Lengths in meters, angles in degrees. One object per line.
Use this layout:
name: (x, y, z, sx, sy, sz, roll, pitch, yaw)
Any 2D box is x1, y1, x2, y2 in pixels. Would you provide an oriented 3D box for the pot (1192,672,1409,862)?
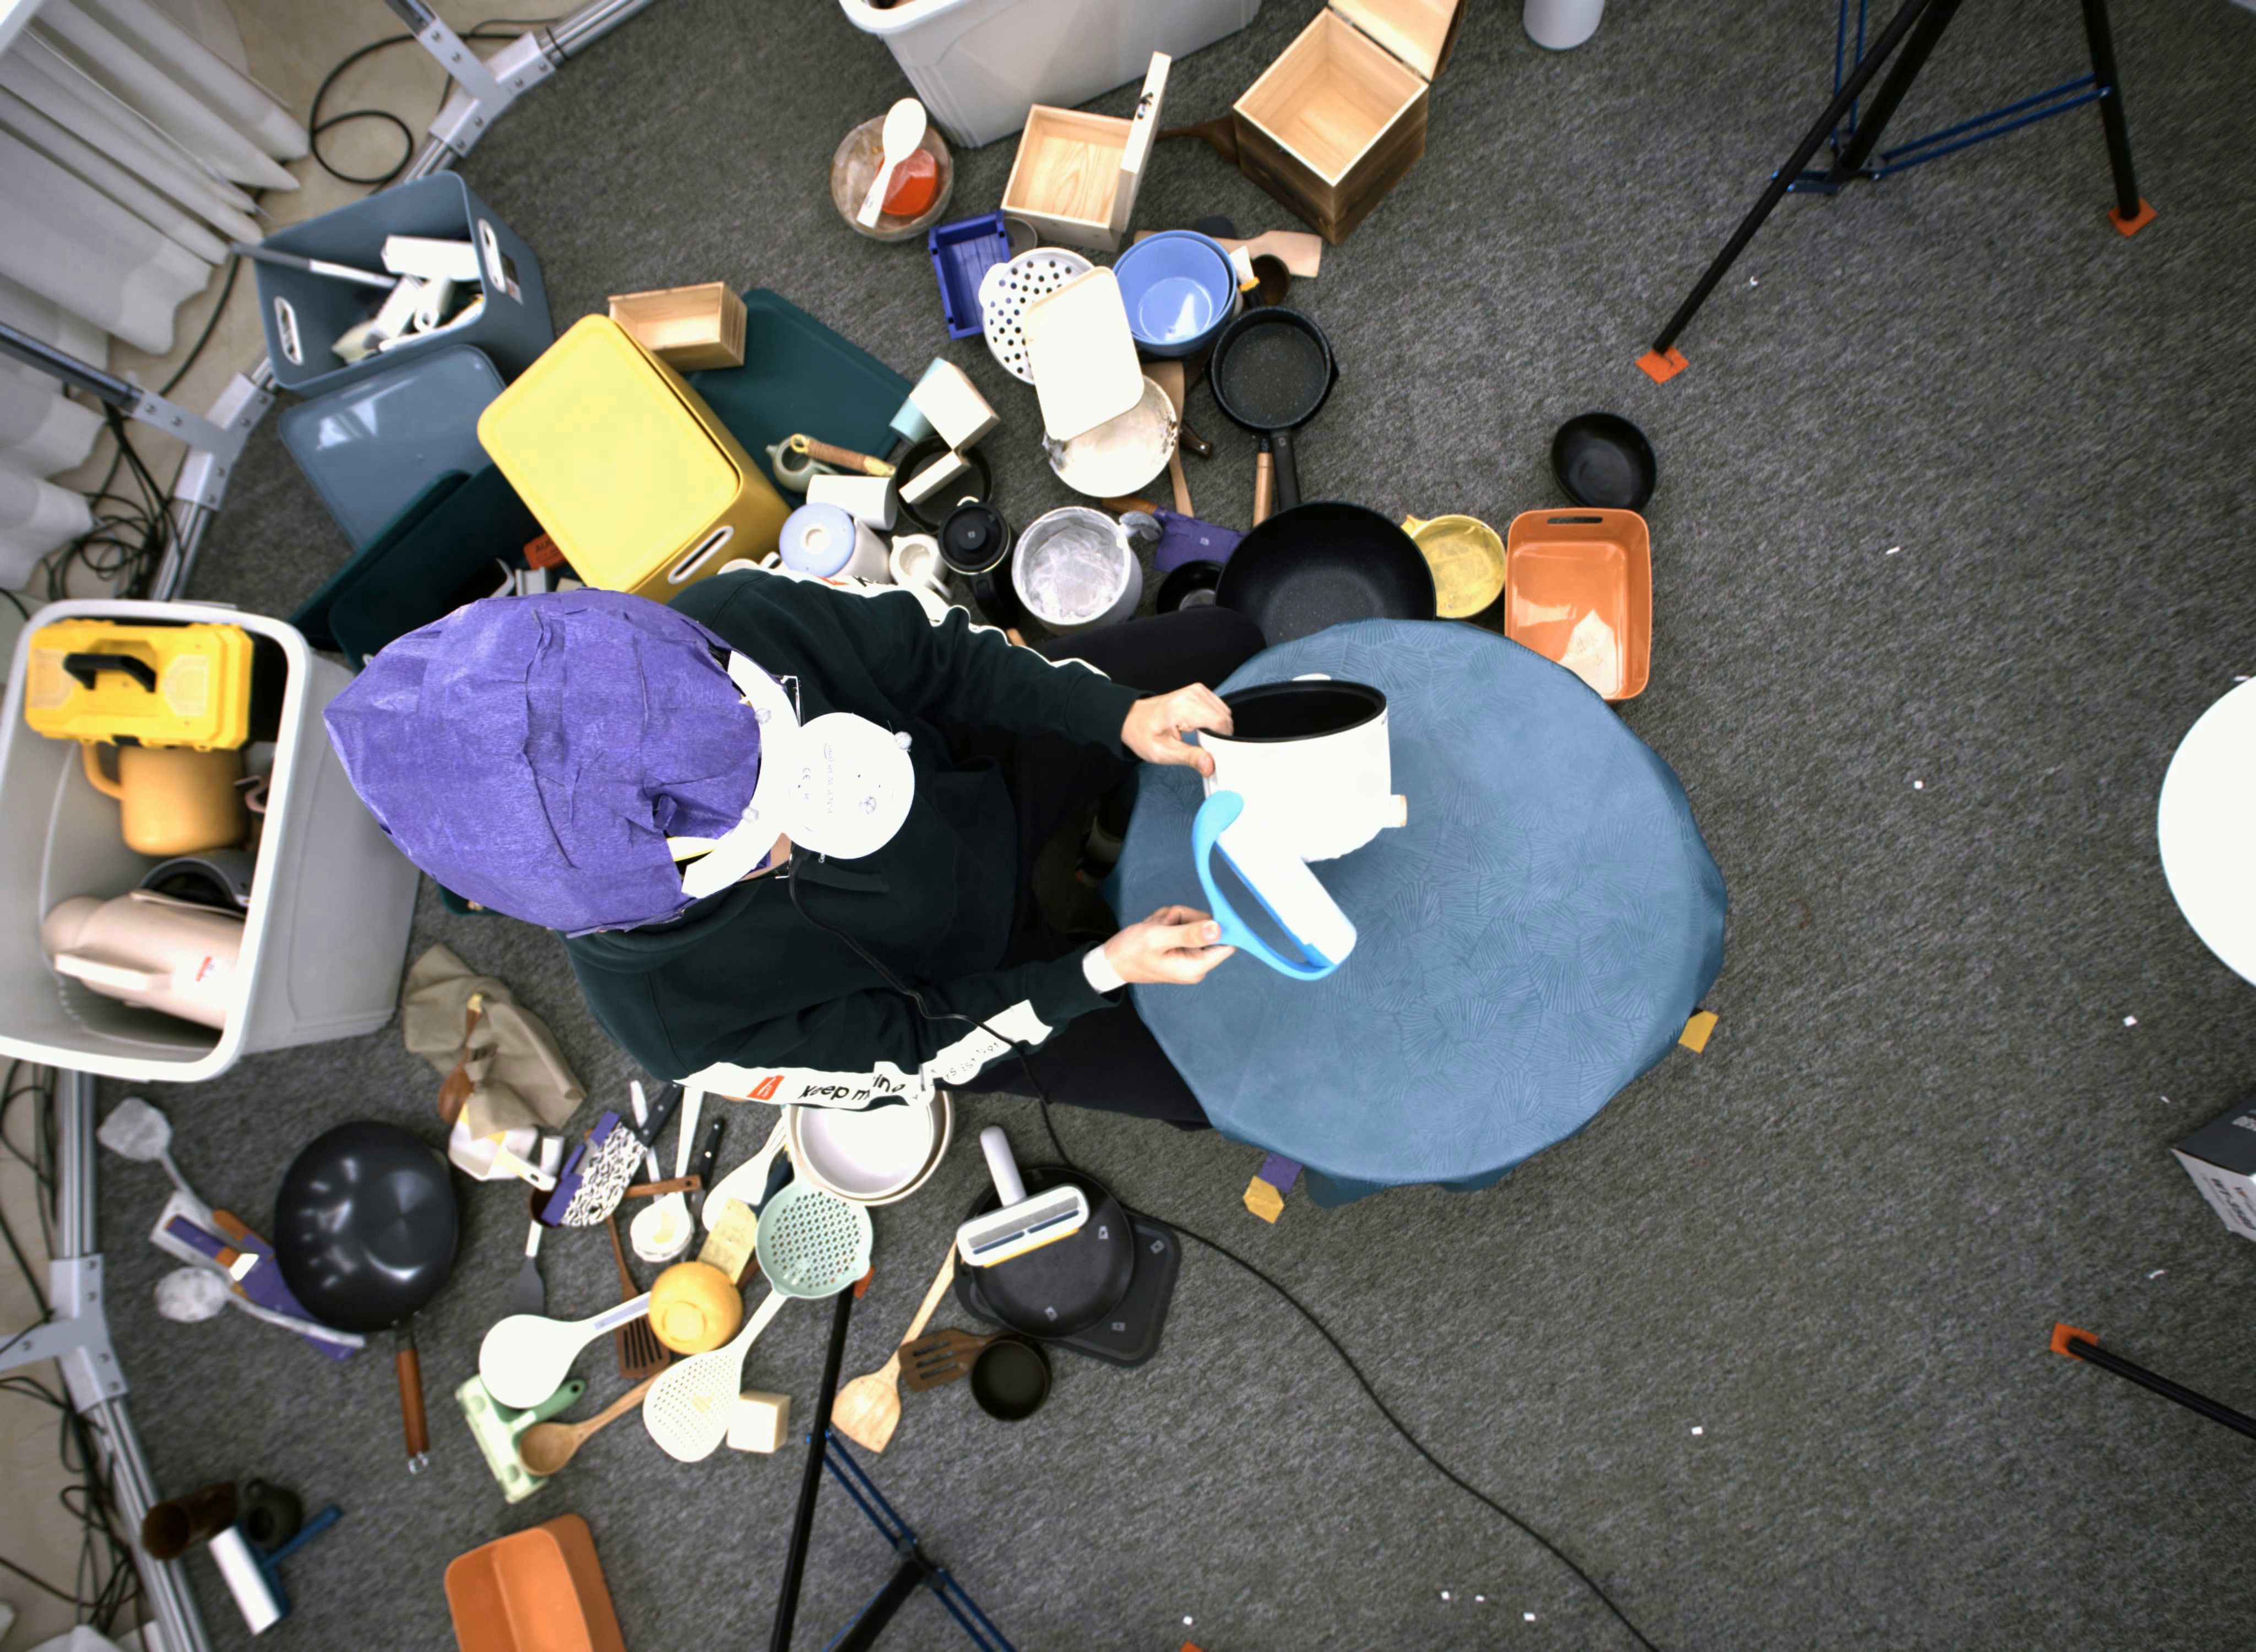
pot: (0.166, -0.053, 1.312, 0.192, 0.235, 0.145, -4, 114, 20)

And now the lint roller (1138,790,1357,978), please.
lint roller: (0.088, 0.078, 1.266, 0.183, 0.066, 0.231, -31, 126, 22)
